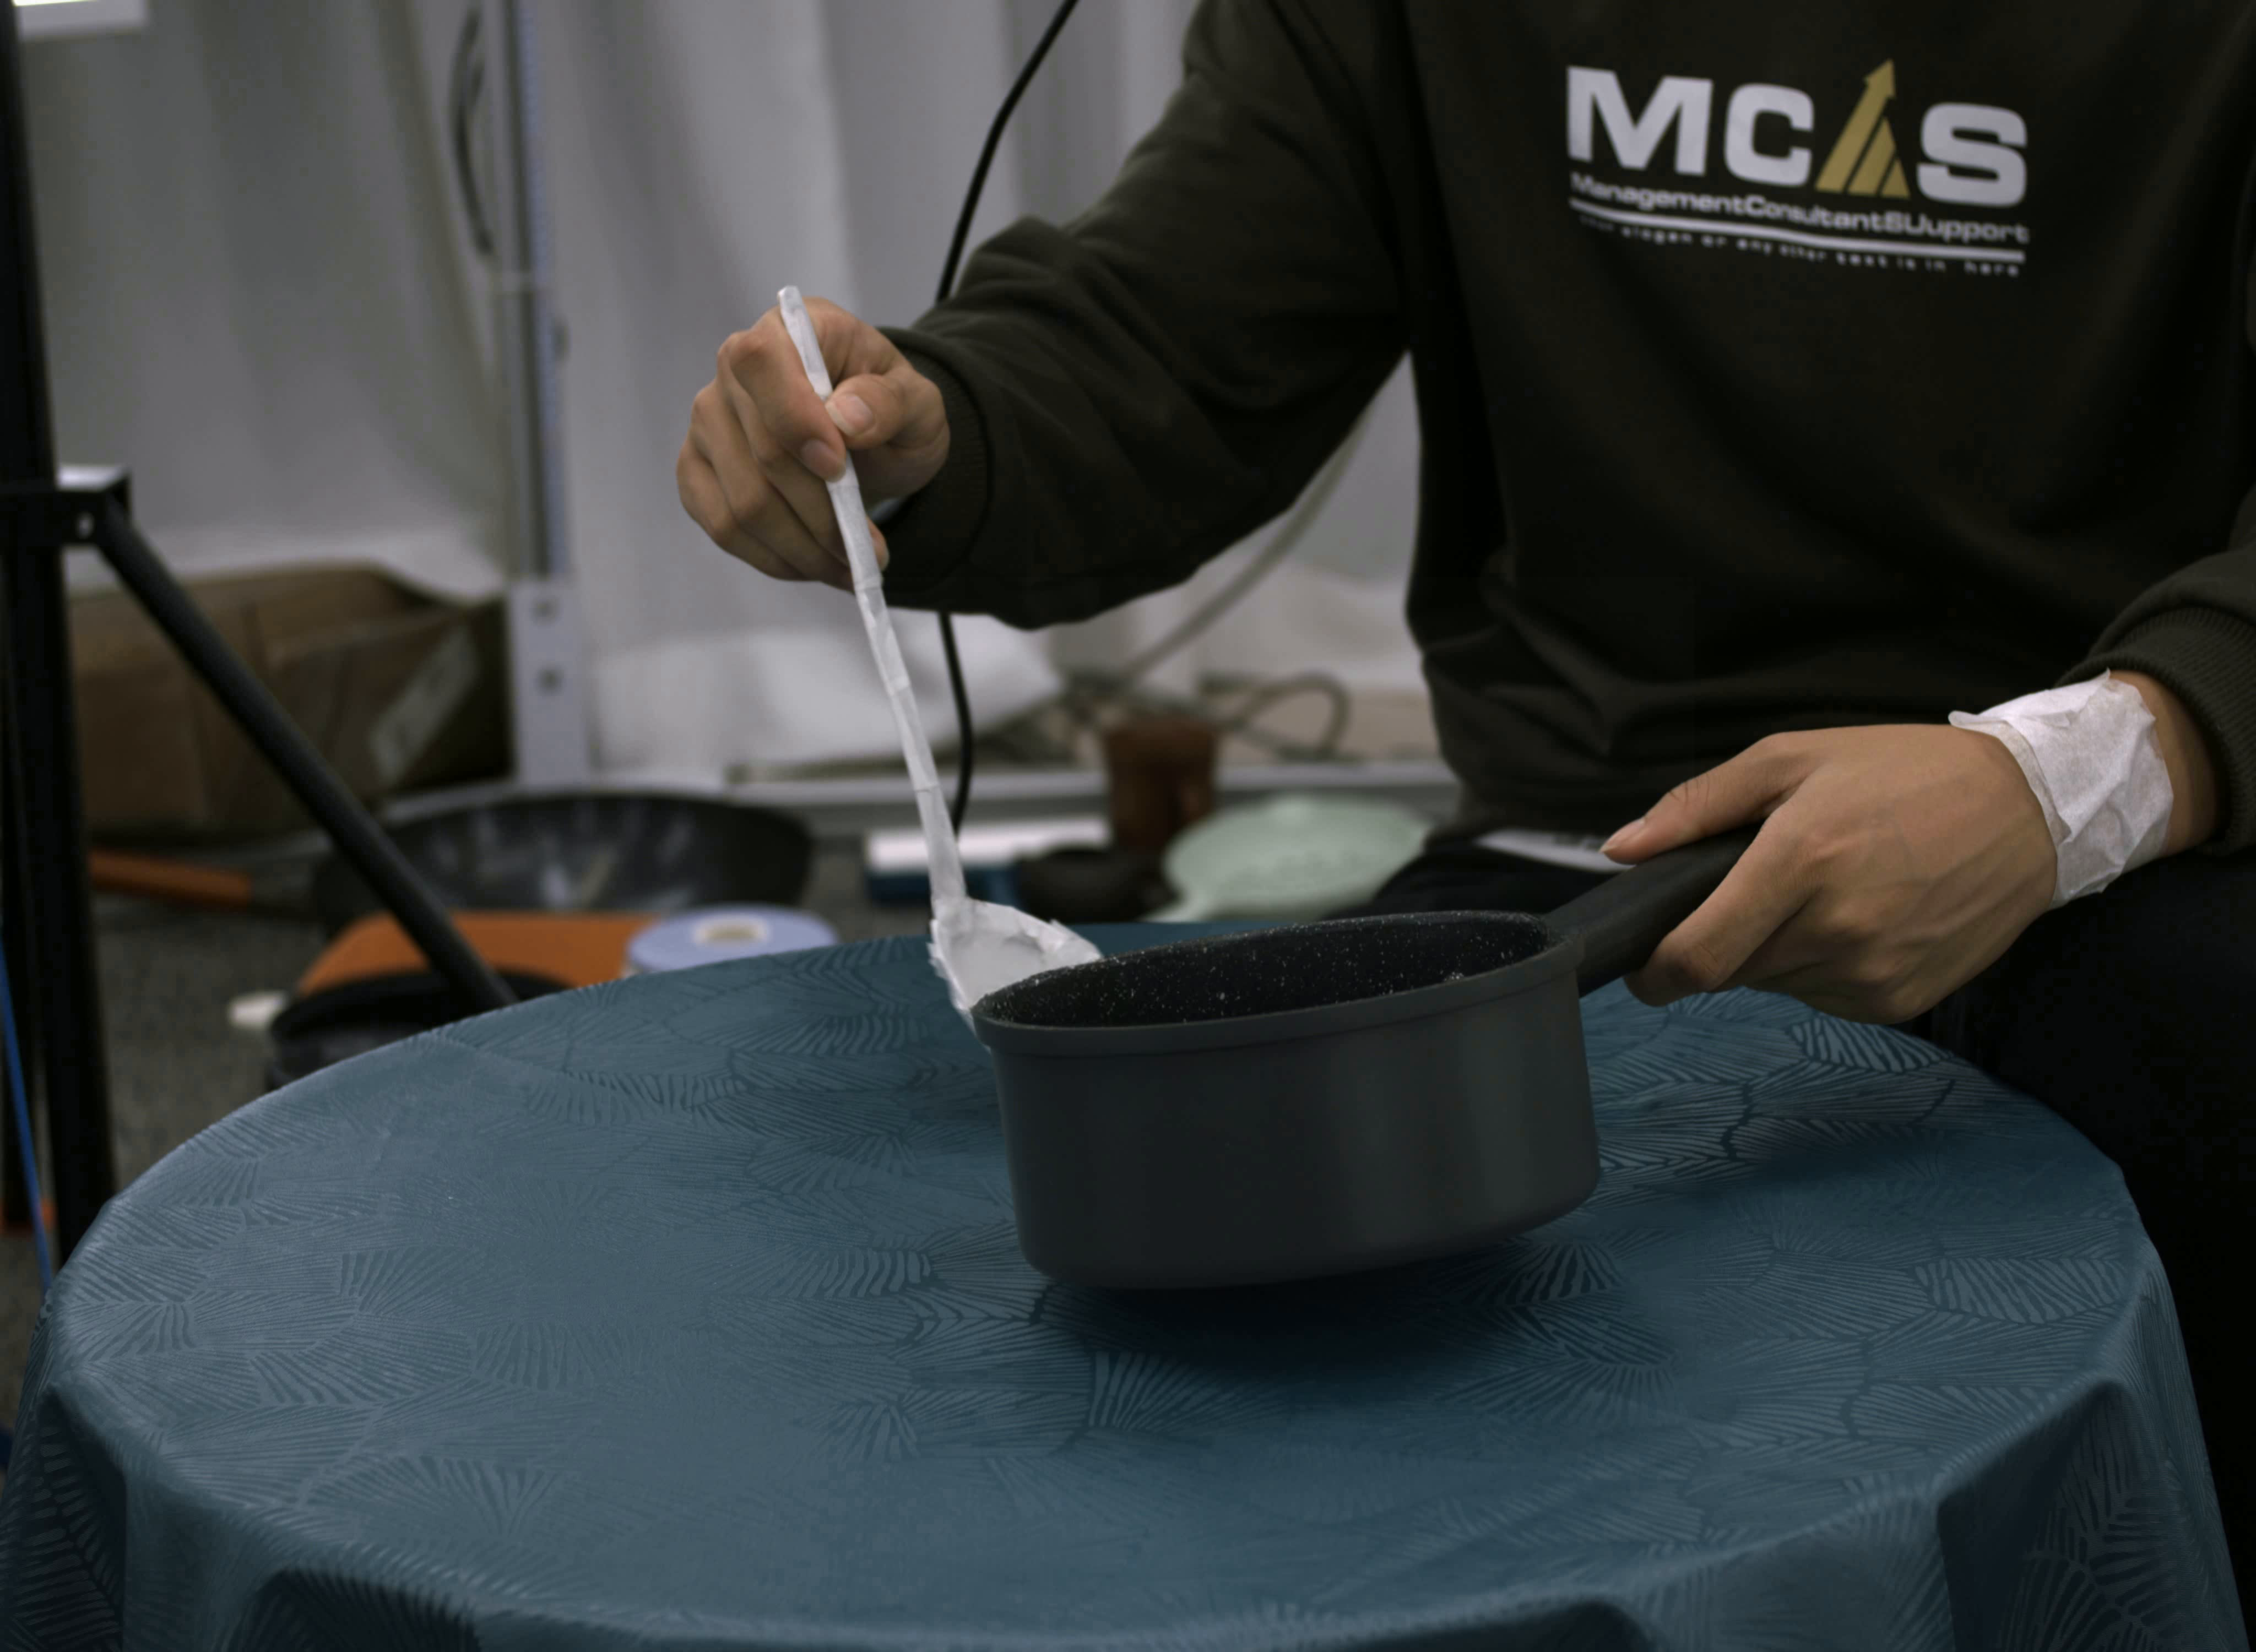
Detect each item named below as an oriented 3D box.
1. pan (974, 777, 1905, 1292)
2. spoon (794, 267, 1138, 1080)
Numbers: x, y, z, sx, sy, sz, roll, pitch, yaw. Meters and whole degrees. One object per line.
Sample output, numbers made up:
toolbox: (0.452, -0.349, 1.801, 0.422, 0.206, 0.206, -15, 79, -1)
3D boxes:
pan: (0.106, 0.059, 1.514, 0.321, 0.086, 0.175, -14, 10, -38)
spoon: (-0.045, -0.043, 1.649, 0.060, 0.279, 0.099, -14, -3, 26)
